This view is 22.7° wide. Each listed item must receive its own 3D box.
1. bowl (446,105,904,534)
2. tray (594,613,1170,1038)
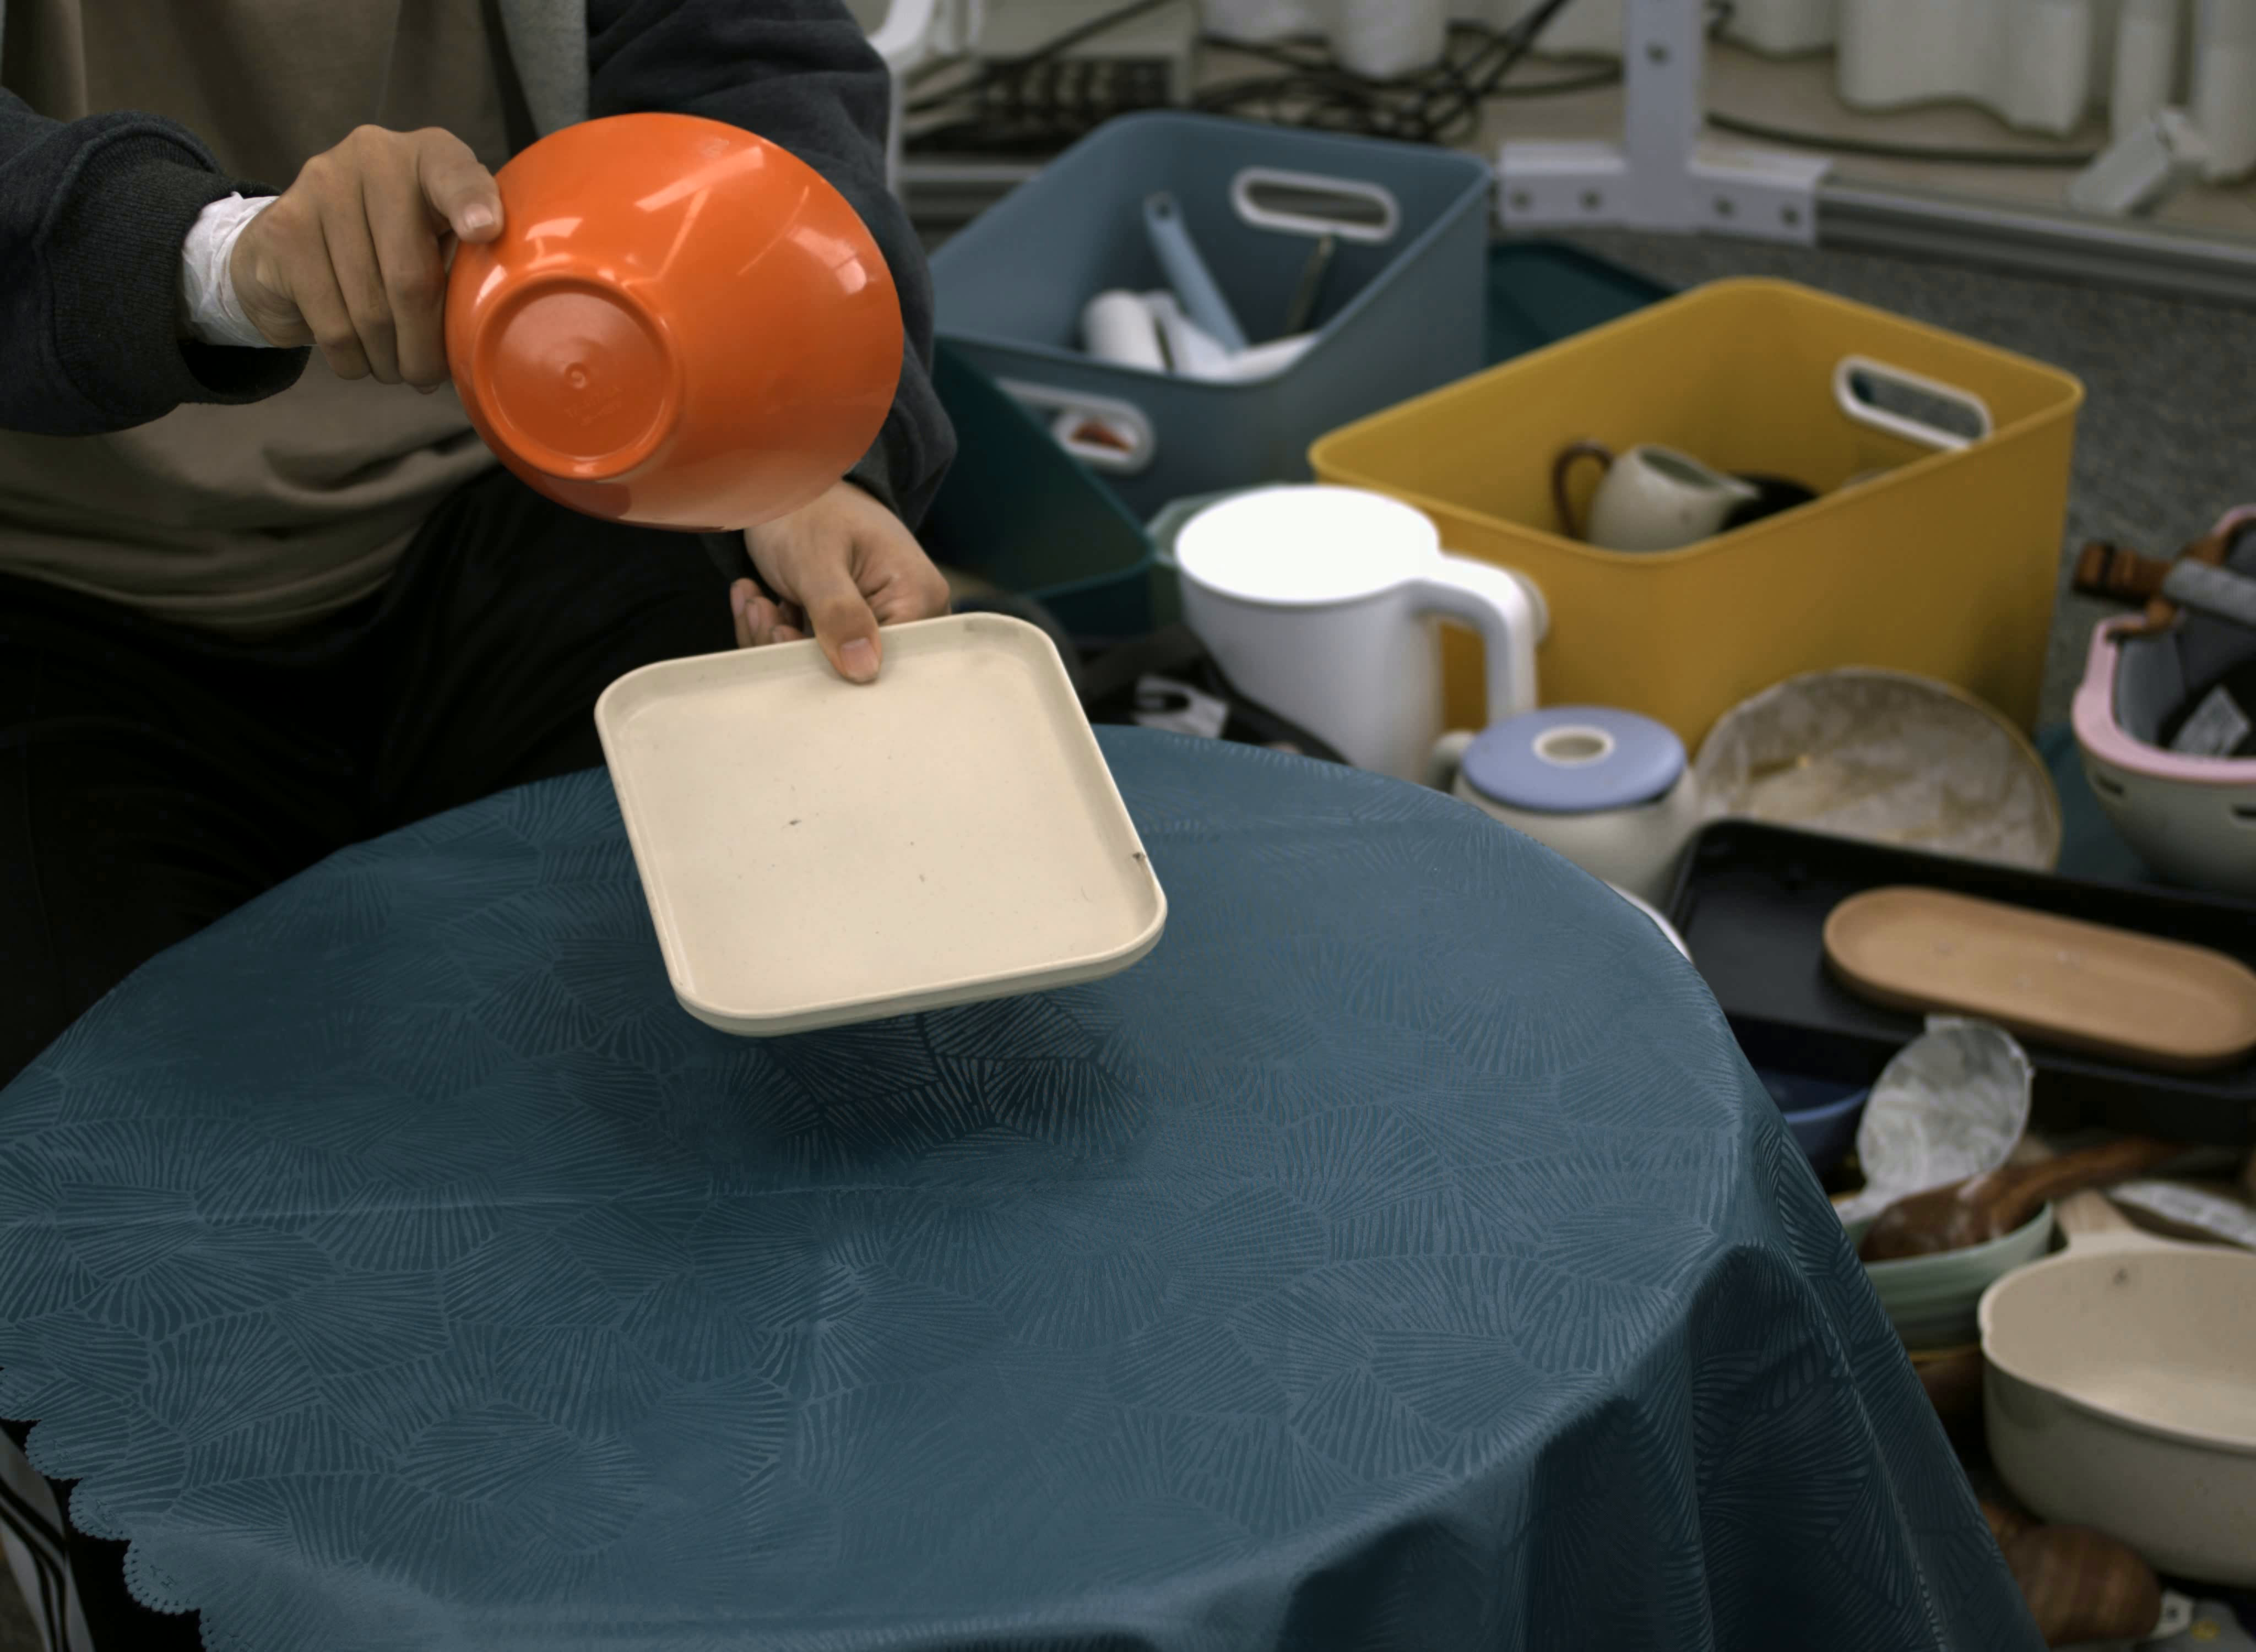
[{"bbox_3d":[-0.153,-0.148,1.779,0.147,0.147,0.106,3,20,11],"label":"bowl"},{"bbox_3d":[-0.088,-0.001,1.956,0.171,0.017,0.243,-10,32,-9],"label":"tray"}]
